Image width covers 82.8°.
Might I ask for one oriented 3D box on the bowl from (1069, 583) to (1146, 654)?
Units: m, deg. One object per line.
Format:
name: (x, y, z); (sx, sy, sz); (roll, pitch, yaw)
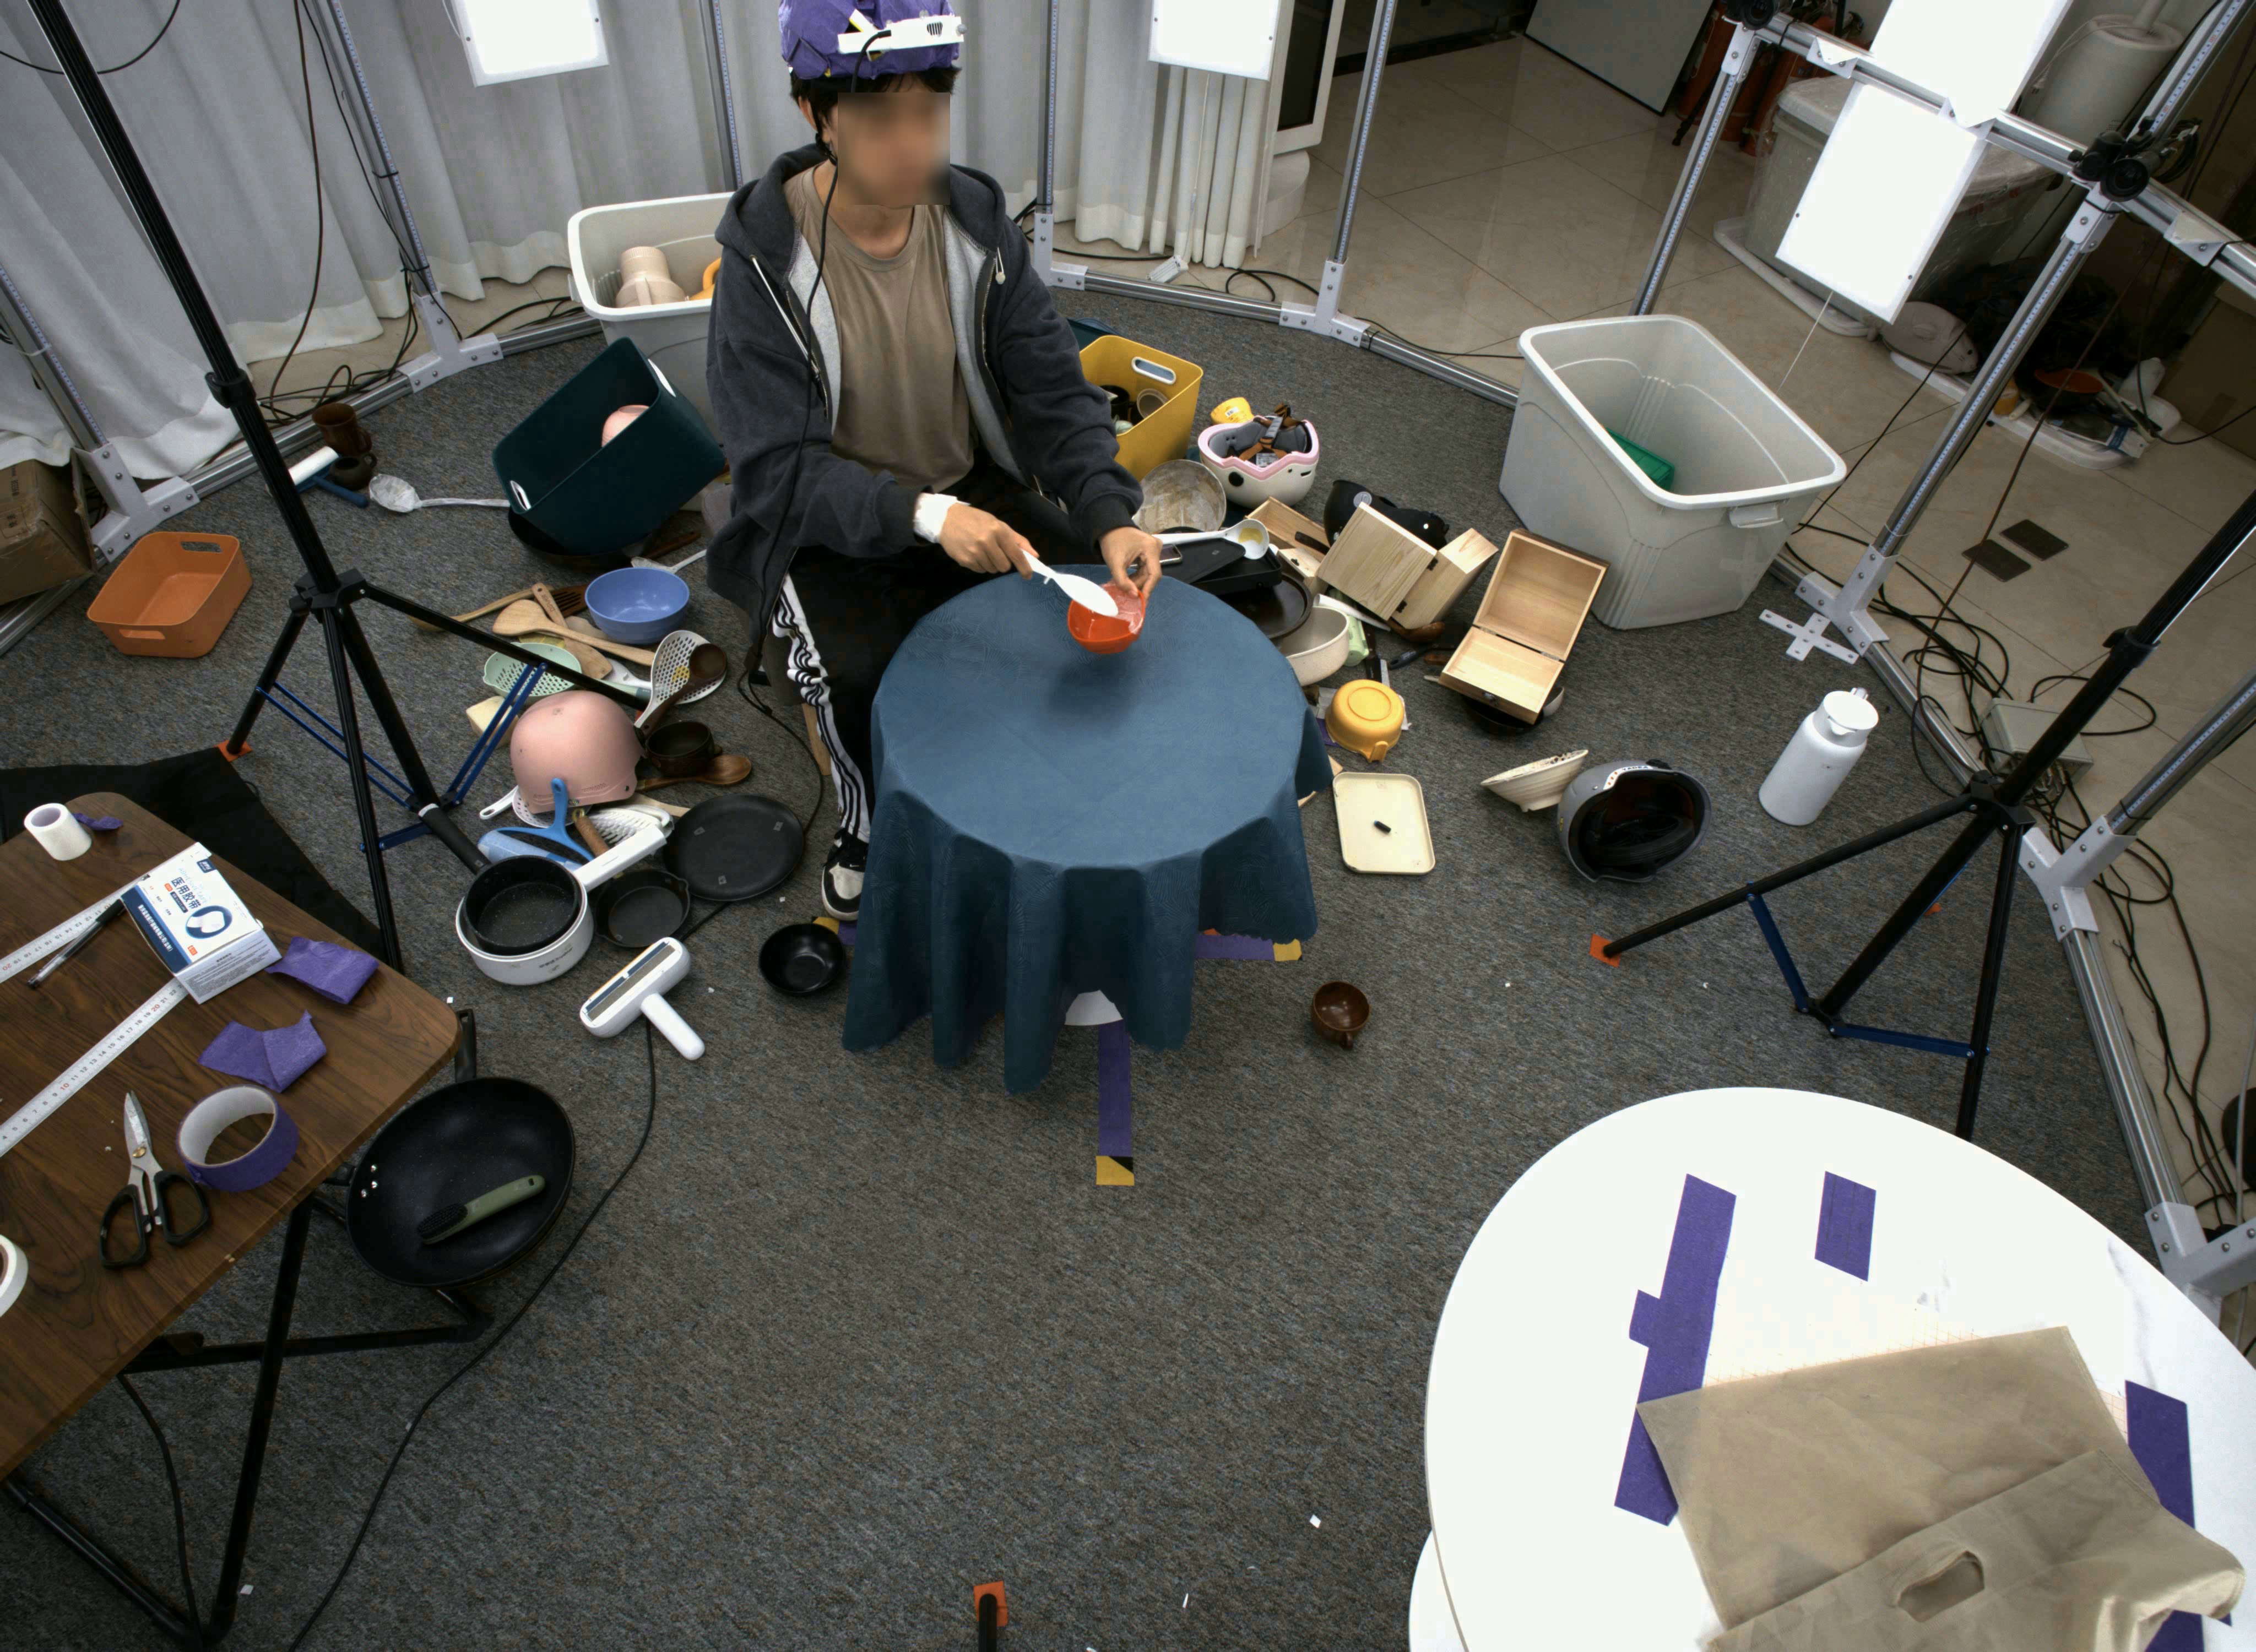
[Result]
bowl: (-0.025, -0.286, 1.813); (0.119, 0.050, 0.122); (-6, 53, 7)

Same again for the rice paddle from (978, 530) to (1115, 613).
rice paddle: (-0.103, -0.342, 1.739); (0.203, 0.029, 0.070); (23, 37, -20)
